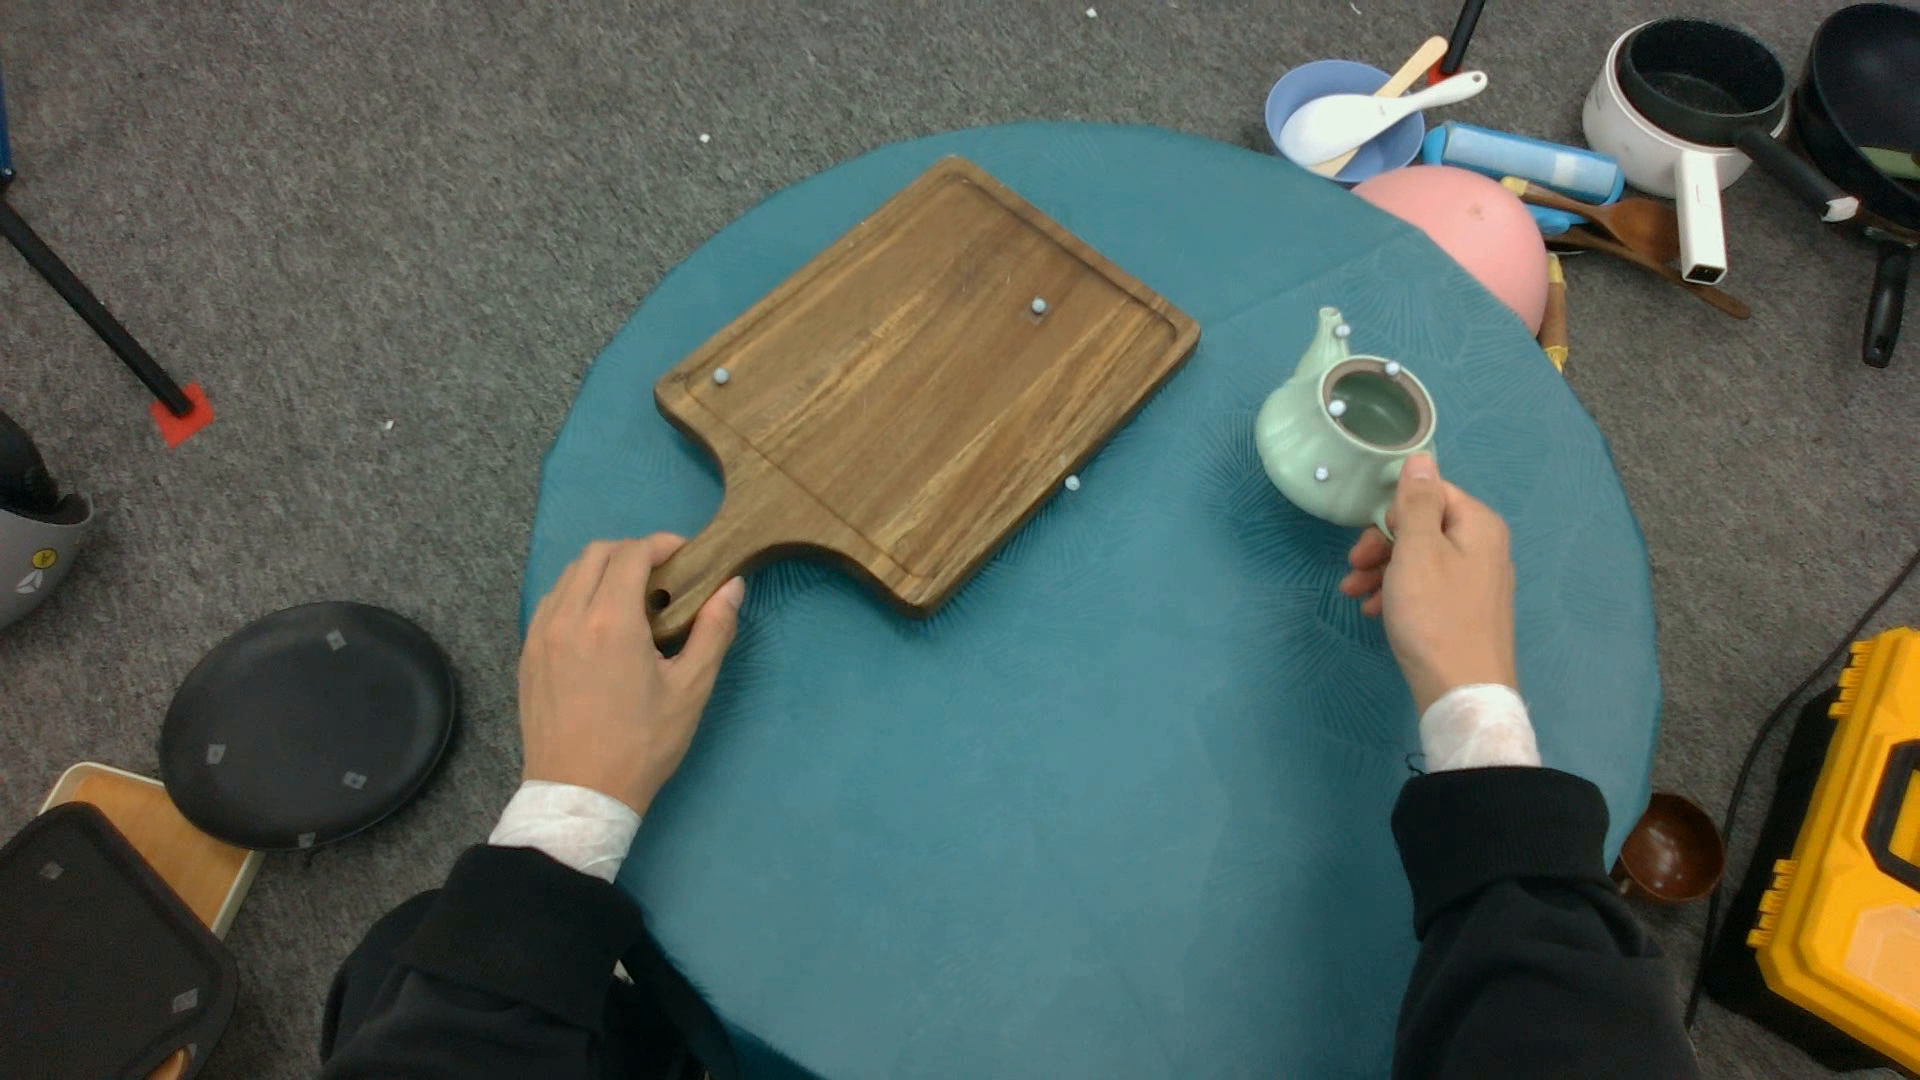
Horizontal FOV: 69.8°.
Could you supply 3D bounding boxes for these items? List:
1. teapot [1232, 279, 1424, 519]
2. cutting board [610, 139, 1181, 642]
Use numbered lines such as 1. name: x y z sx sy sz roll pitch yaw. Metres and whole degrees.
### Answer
1. teapot: 0.193 -0.066 0.711 0.096 0.061 0.137 -9 61 -23
2. cutting board: -0.054 -0.074 0.738 0.201 0.023 0.353 37 62 14
